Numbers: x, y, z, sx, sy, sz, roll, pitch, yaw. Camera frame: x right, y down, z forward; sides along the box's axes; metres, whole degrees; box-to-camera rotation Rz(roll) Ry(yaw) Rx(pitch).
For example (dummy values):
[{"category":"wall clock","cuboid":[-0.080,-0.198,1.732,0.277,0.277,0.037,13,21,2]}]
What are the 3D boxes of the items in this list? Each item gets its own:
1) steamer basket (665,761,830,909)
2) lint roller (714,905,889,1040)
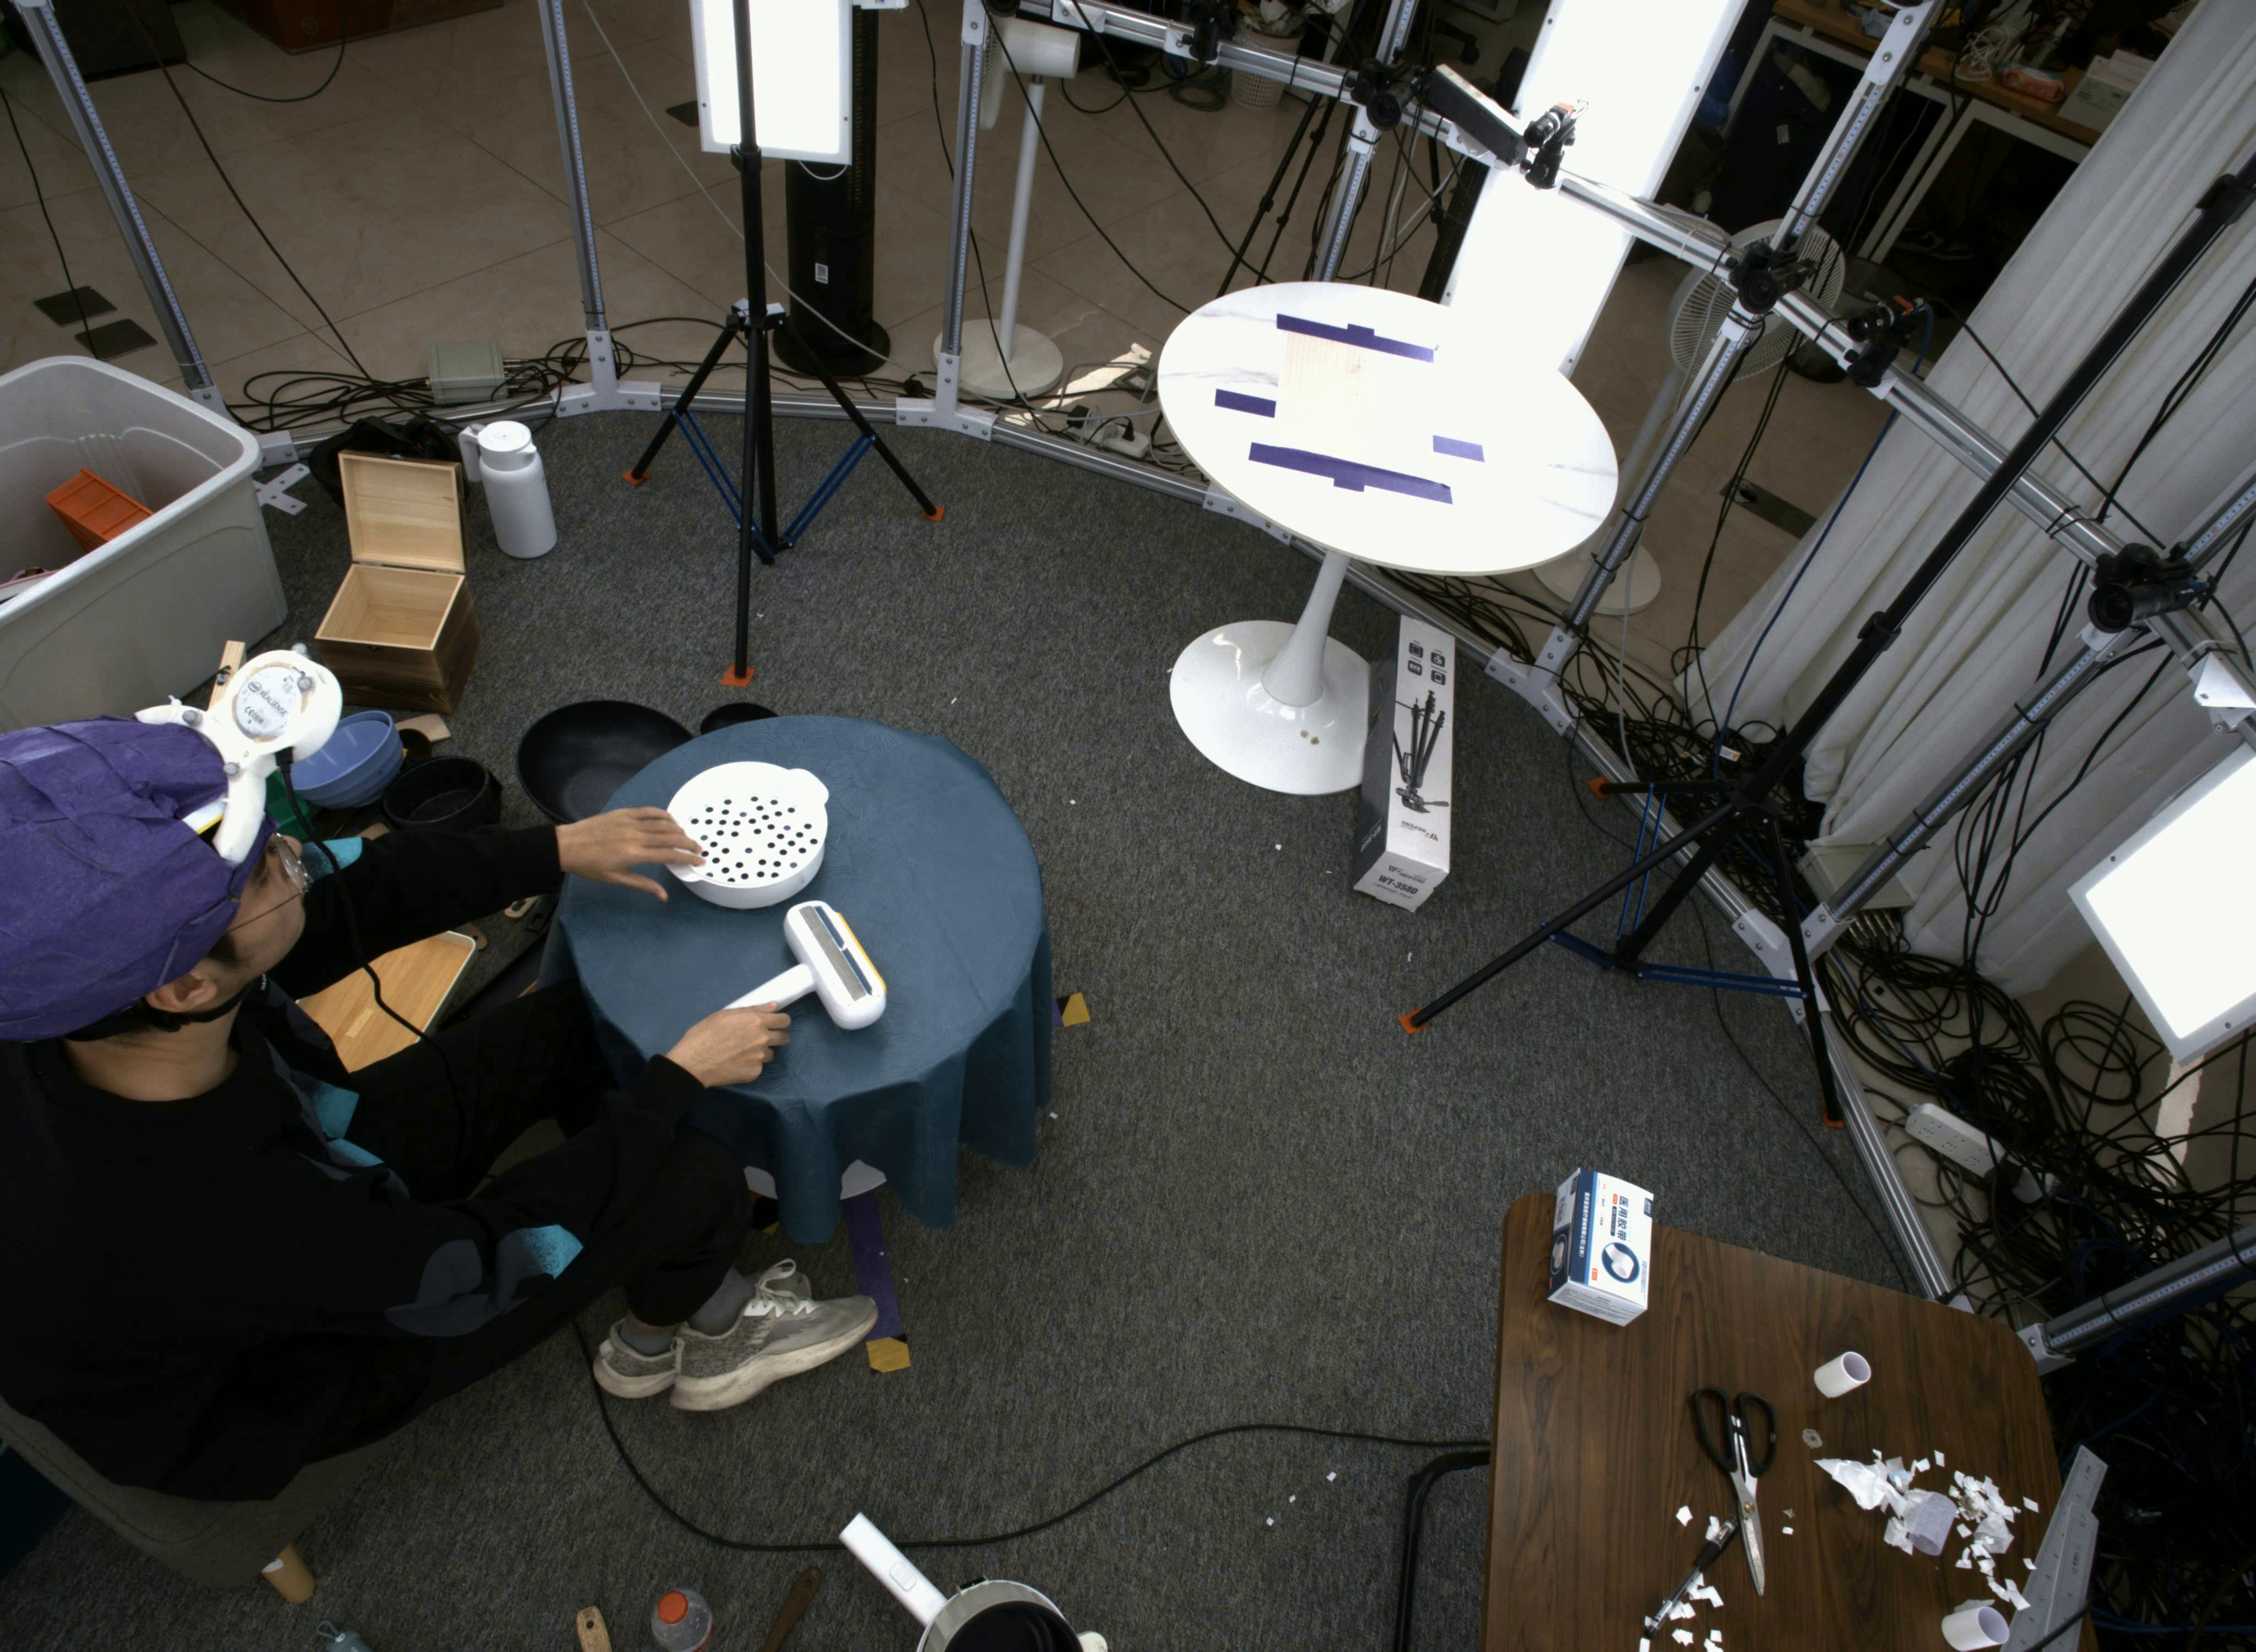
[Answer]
[{"category":"steamer basket","cuboid":[-0.484,0.012,1.665,0.197,0.071,0.231,41,57,18]},{"category":"lint roller","cuboid":[-0.403,0.193,1.549,0.193,0.076,0.187,-19,55,-24]}]
